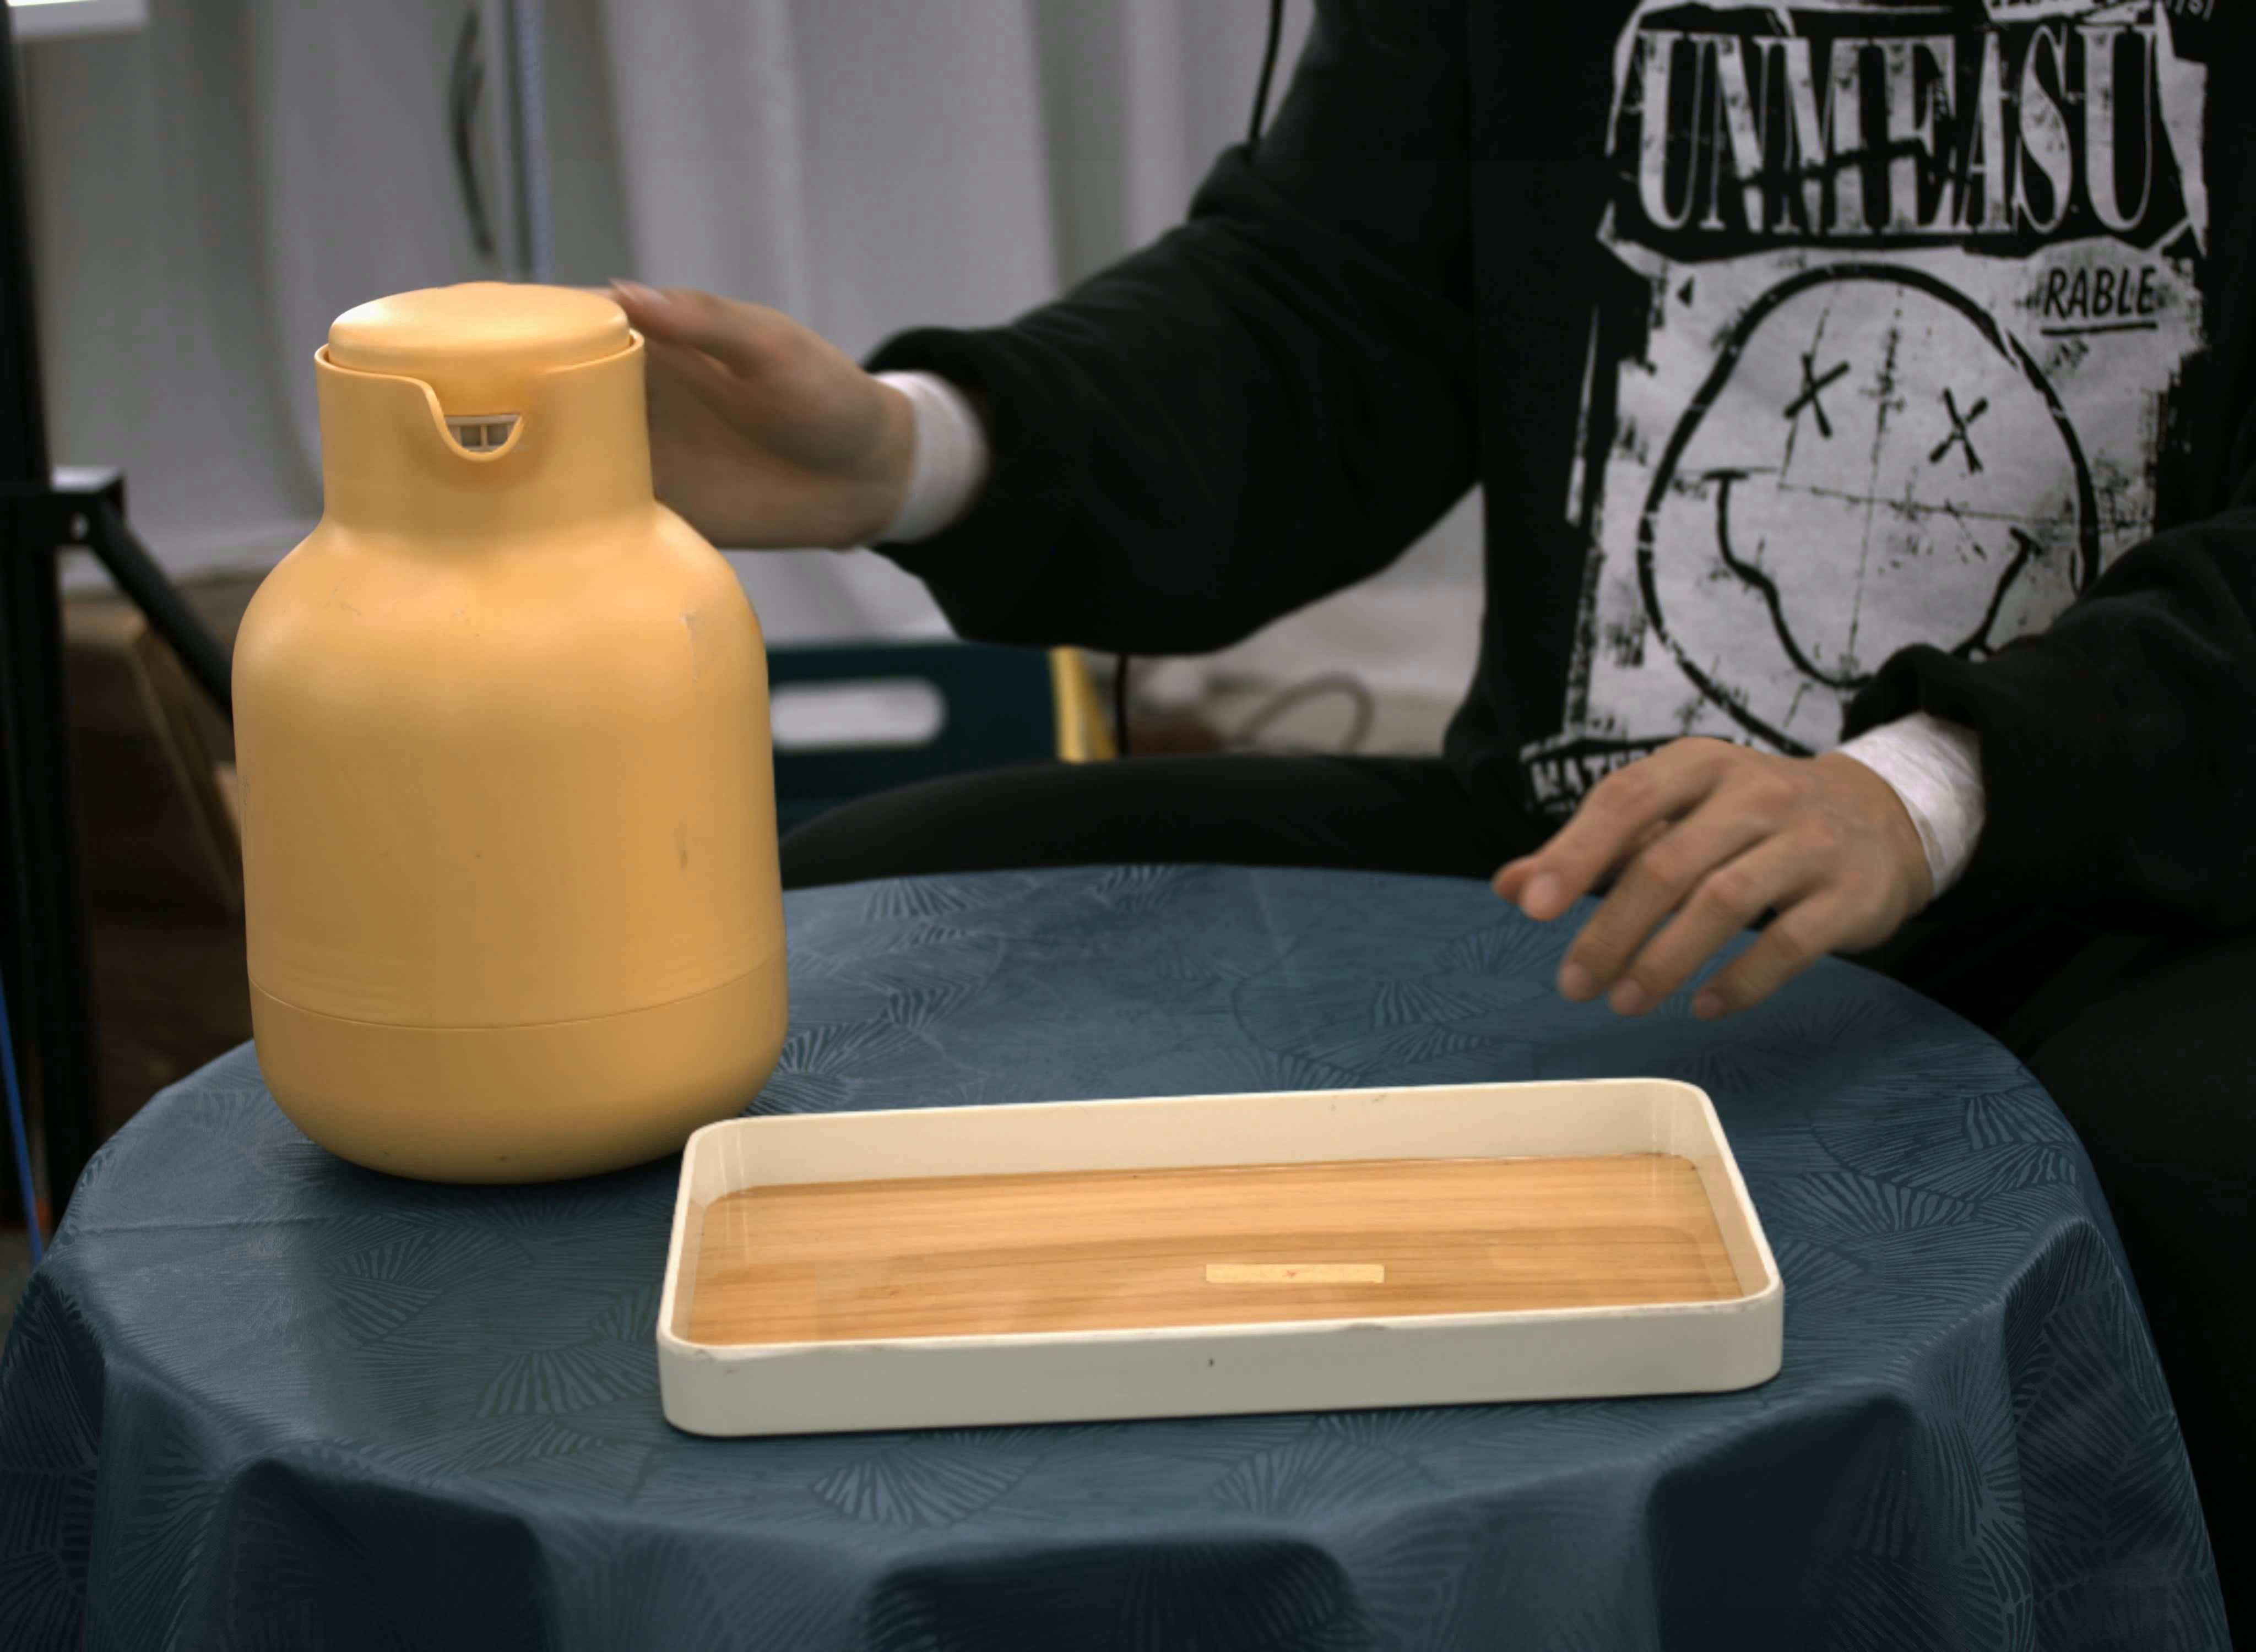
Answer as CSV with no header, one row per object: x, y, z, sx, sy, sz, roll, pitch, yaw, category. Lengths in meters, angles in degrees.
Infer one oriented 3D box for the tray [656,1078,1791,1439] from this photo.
0.024,0.118,1.467,0.299,0.027,0.192,-2,16,1,tray

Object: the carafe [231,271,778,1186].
-0.188,-0.037,1.626,0.162,0.260,0.204,0,16,-3,carafe
